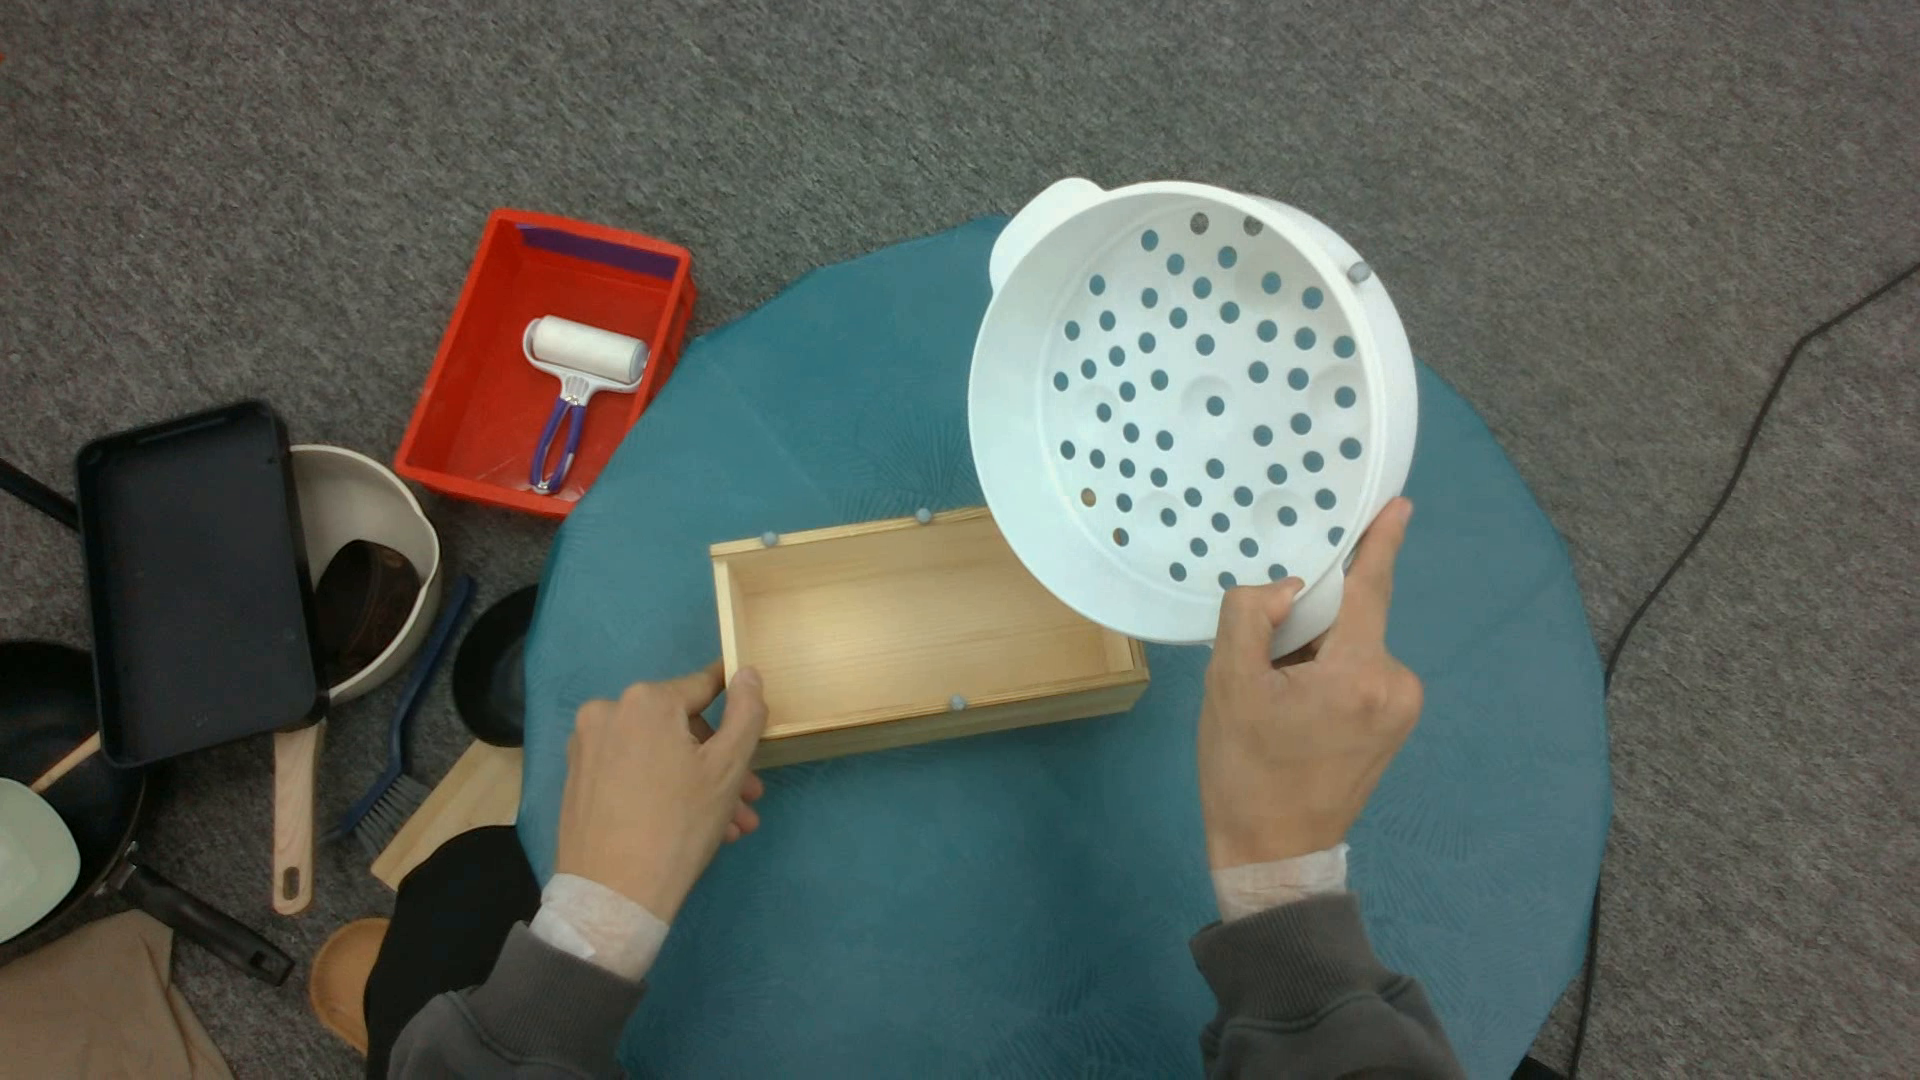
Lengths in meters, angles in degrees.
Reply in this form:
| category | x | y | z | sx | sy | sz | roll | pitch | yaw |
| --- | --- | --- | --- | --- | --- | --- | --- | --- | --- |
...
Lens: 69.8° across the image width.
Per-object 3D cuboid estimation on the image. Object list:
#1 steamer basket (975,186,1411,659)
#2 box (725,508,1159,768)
| category | x | y | z | sx | sy | sz | roll | pitch | yaw |
| --- | --- | --- | --- | --- | --- | --- | --- | --- | --- |
| steamer basket | 0.105 | -0.059 | 0.634 | 0.069 | 0.201 | 0.231 | -21 | 77 | -51 |
| box | -0.011 | 0.050 | 0.743 | 0.211 | 0.080 | 0.108 | -8 | 72 | -4 |
